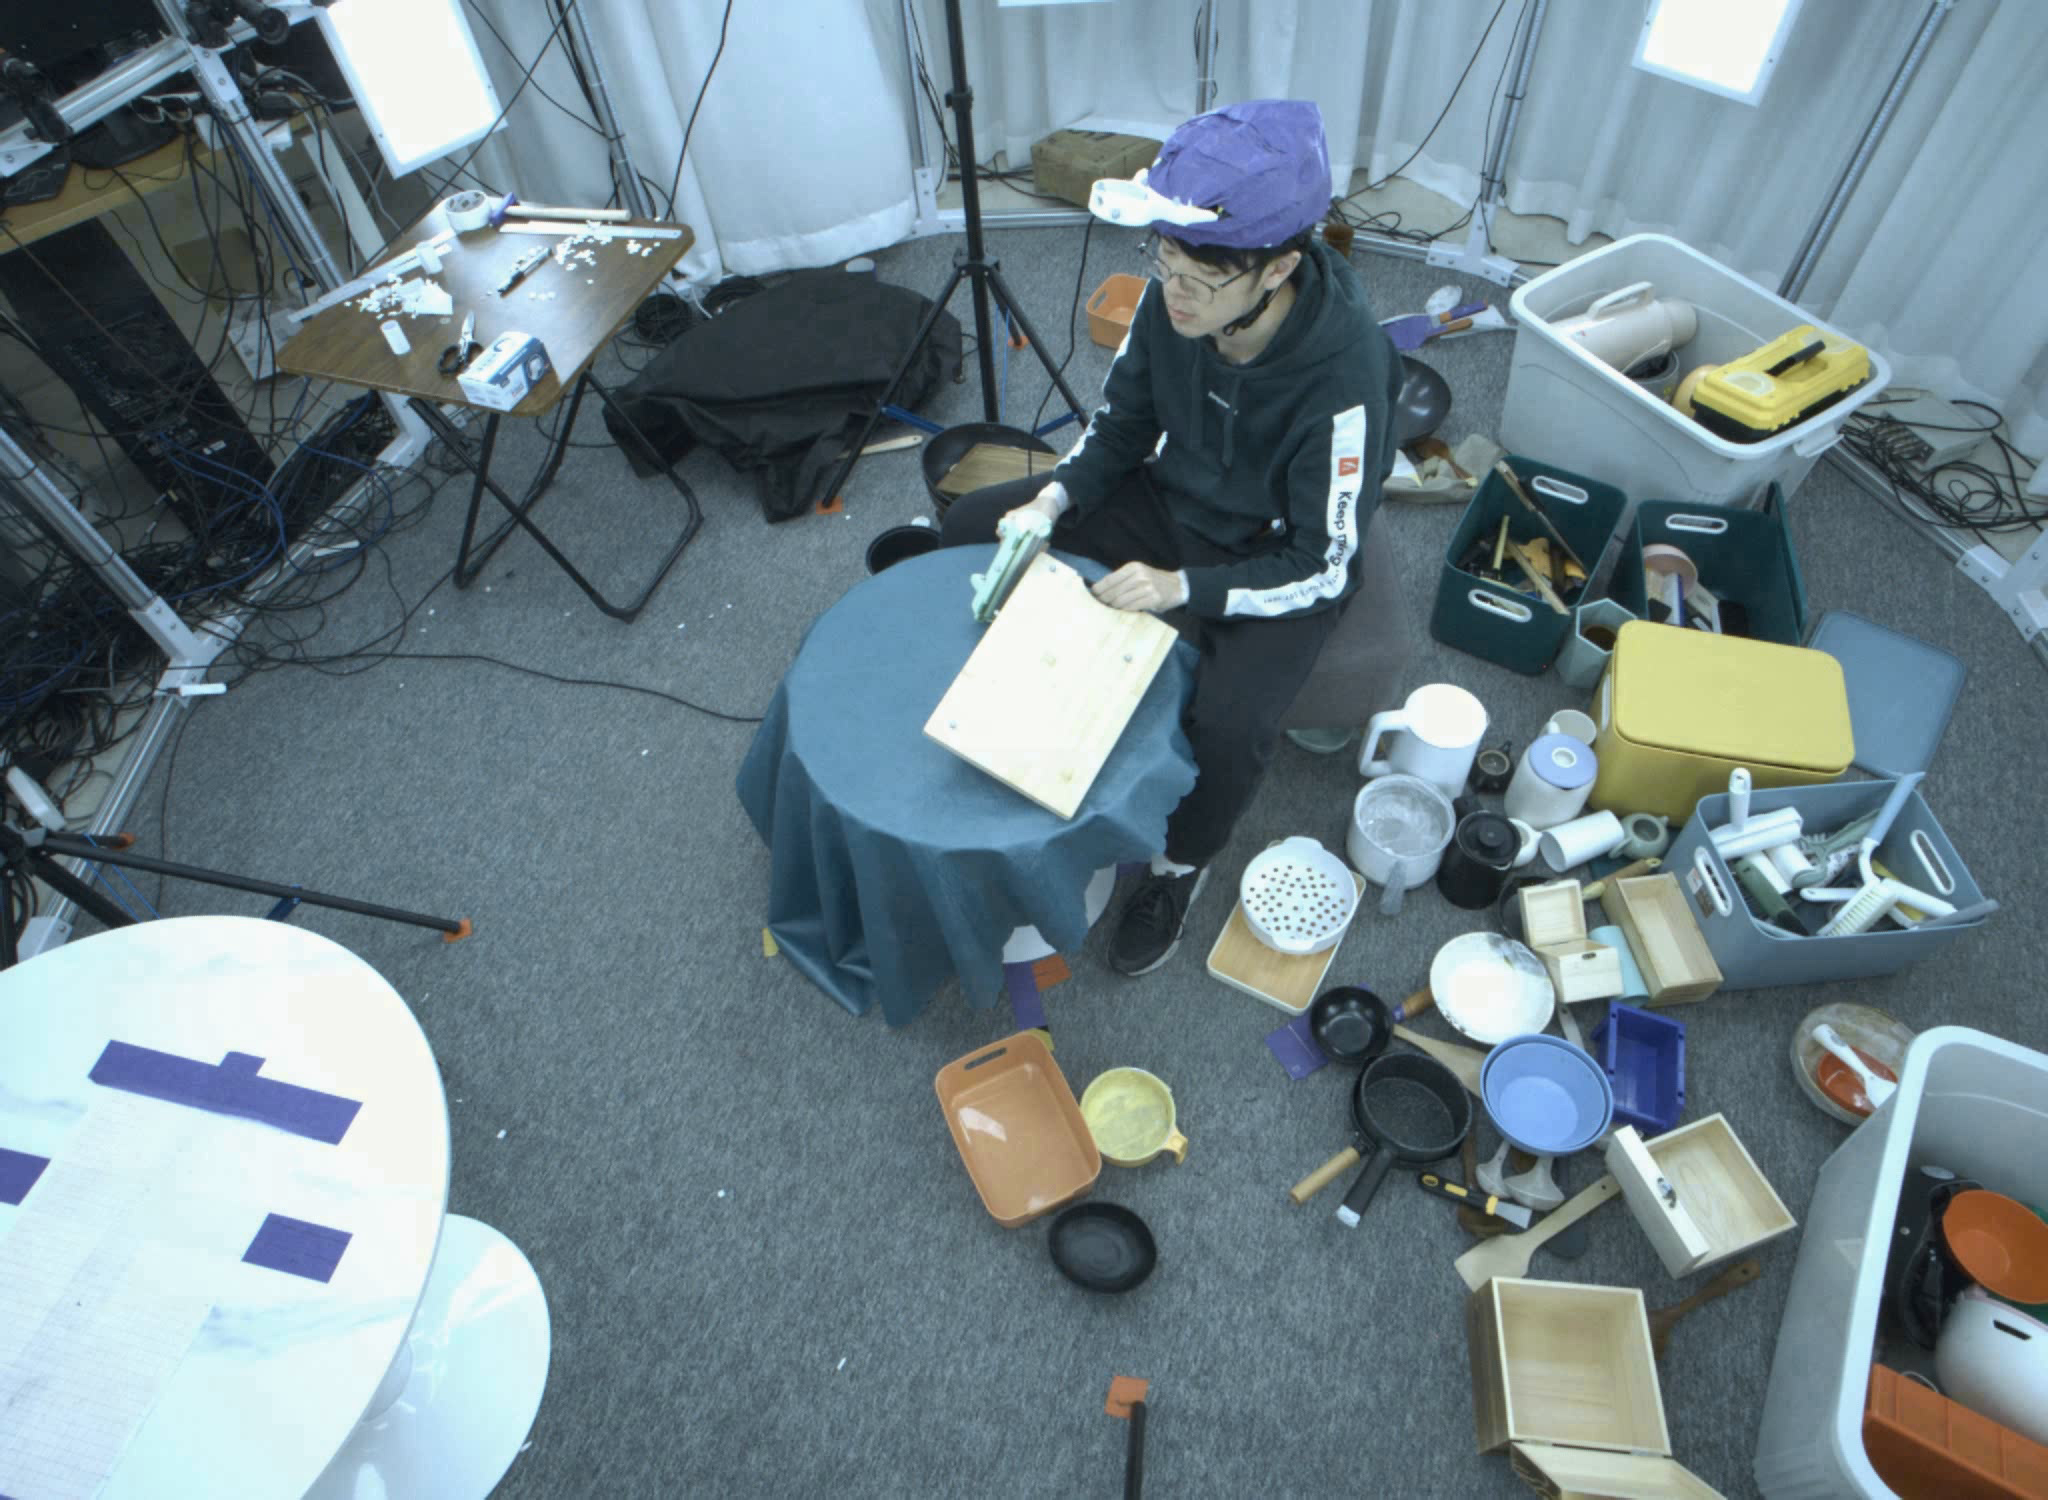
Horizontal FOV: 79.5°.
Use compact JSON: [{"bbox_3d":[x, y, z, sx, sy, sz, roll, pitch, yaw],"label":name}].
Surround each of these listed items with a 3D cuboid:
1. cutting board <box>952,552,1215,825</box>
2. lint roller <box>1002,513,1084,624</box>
[{"bbox_3d":[0.088,-0.094,1.760,0.251,0.023,0.349,32,69,0],"label":"cutting board"},{"bbox_3d":[0.035,-0.310,1.887,0.082,0.198,0.183,28,44,-6],"label":"lint roller"}]
